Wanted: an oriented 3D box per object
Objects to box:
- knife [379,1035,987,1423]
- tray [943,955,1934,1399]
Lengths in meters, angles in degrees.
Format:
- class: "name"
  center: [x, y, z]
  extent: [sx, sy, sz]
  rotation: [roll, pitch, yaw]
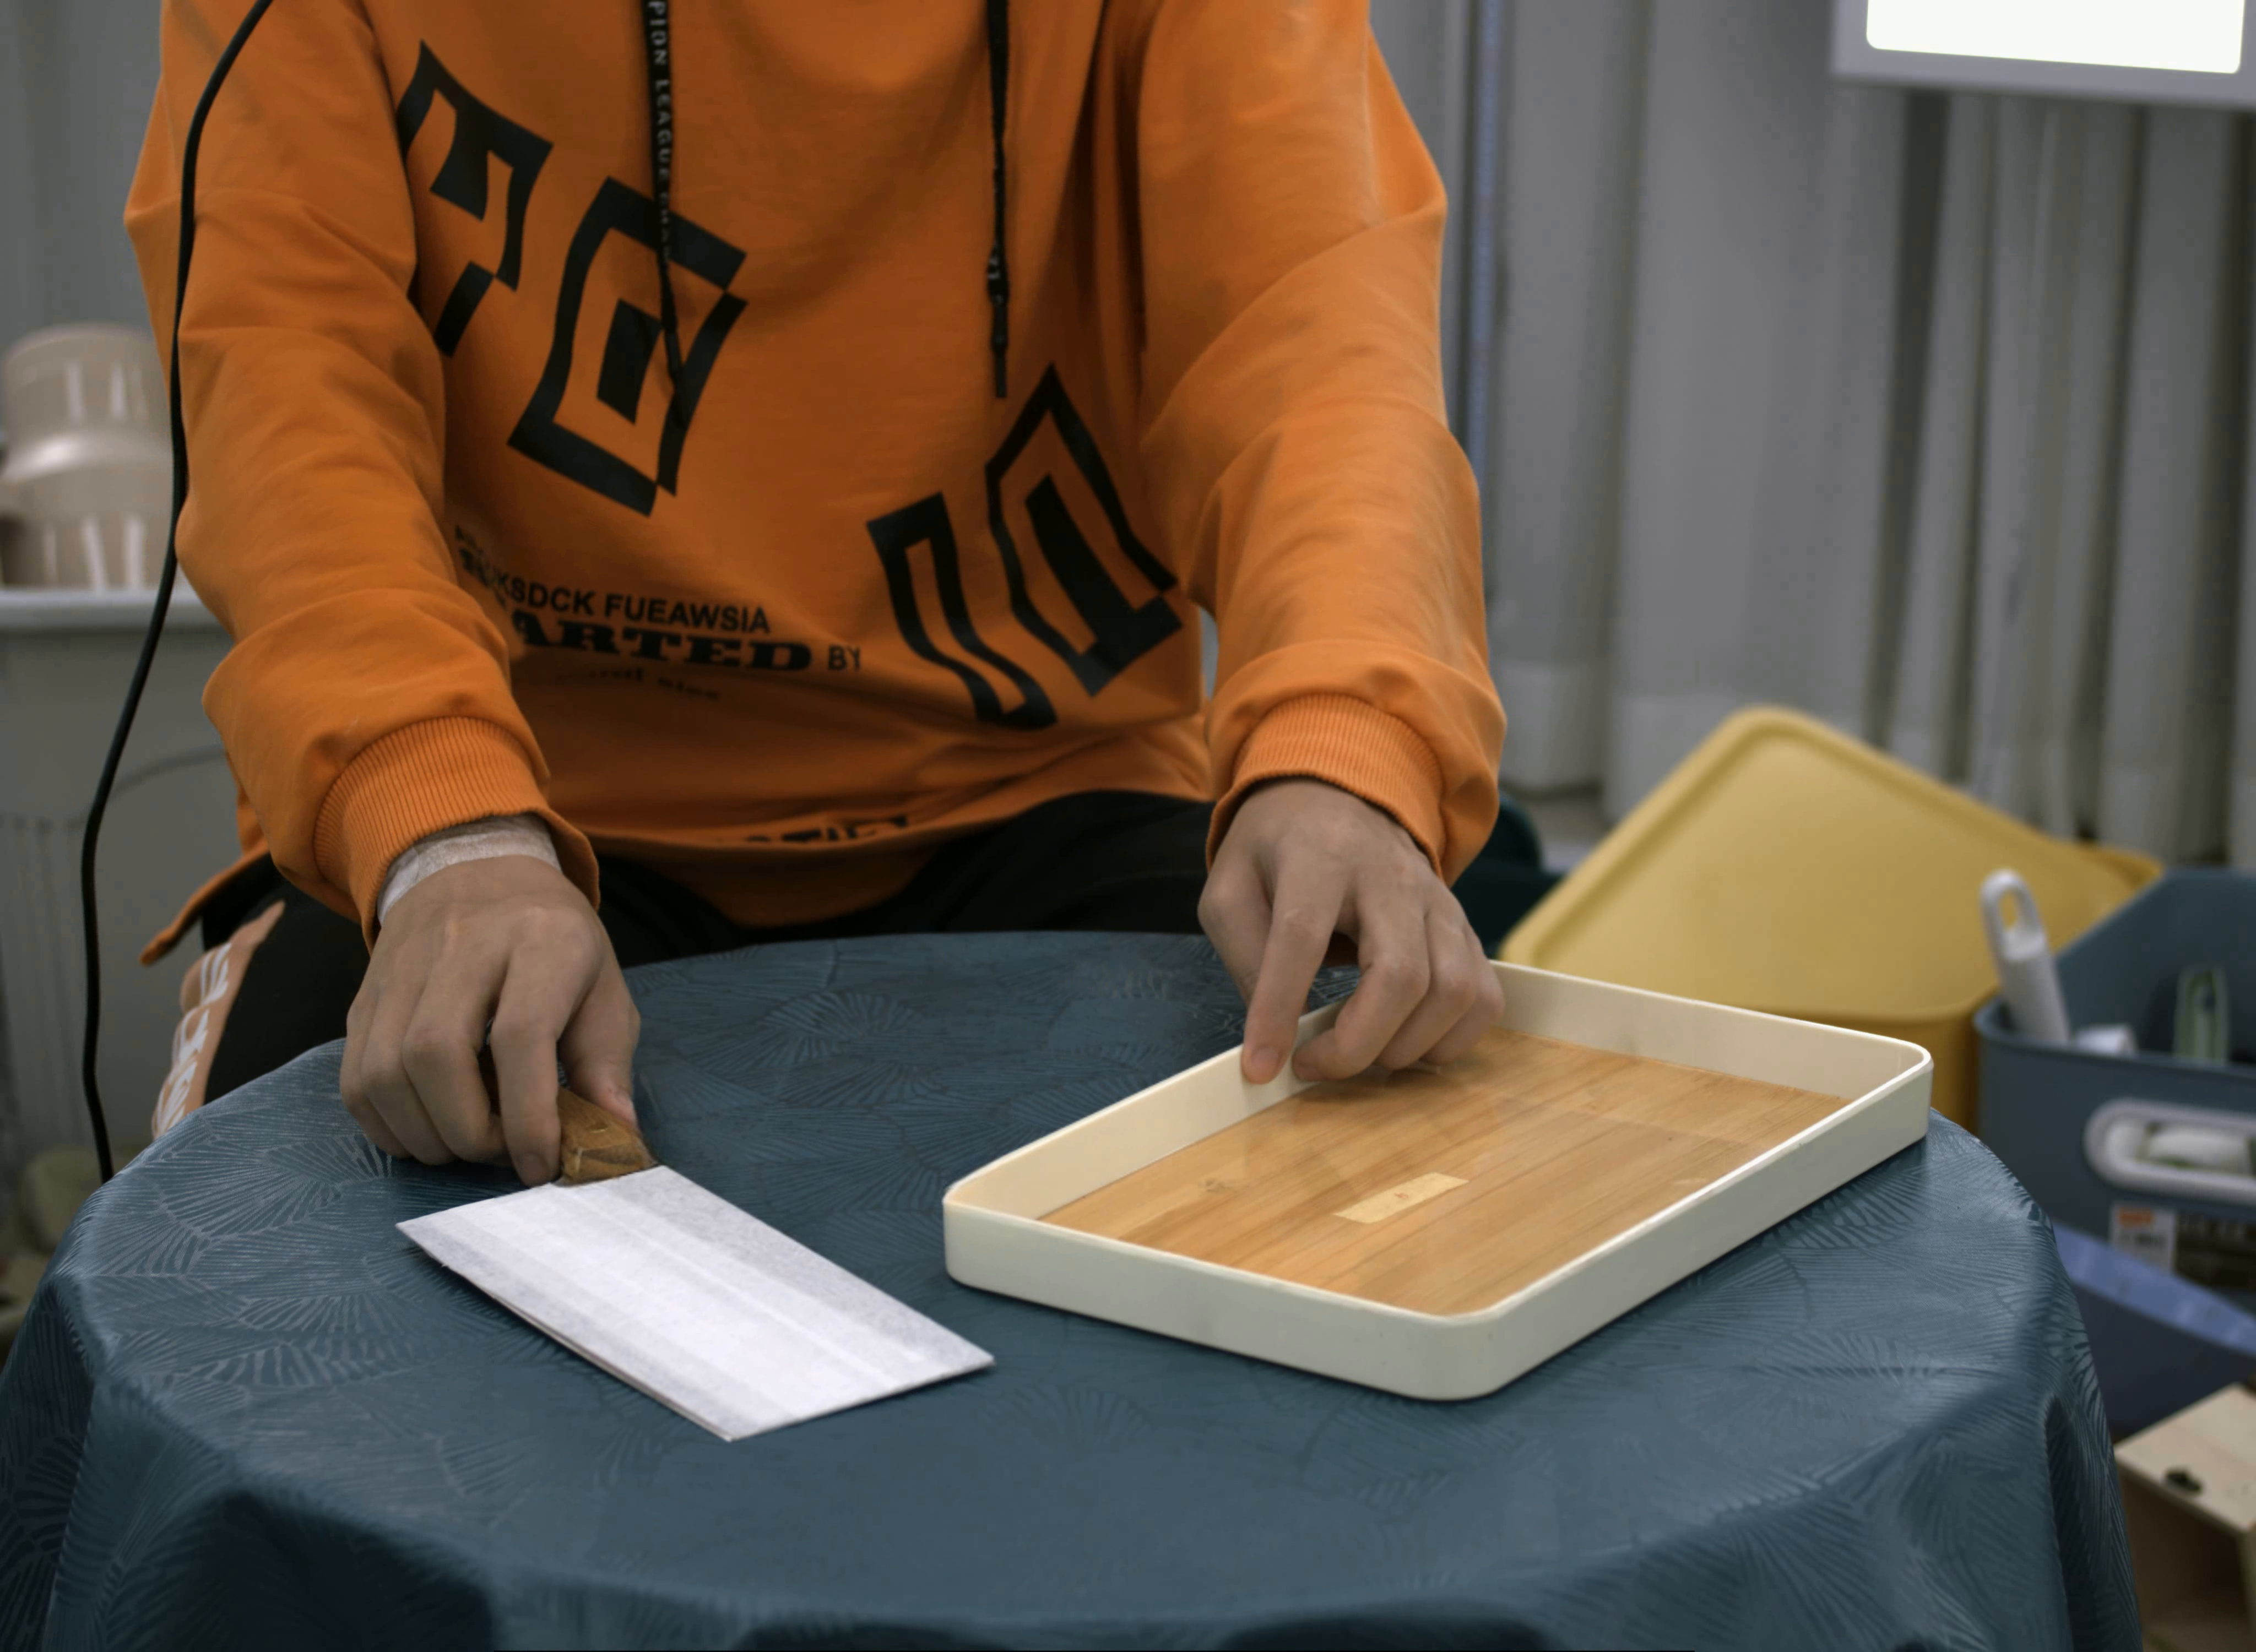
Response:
- class: "knife"
  center: [-0.160, 0.119, 1.565]
  extent: [0.093, 0.021, 0.301]
  rotation: [-14, 23, -34]
- class: "tray"
  center: [0.101, 0.102, 1.611]
  extent: [0.189, 0.027, 0.301]
  rotation: [11, 19, 33]
